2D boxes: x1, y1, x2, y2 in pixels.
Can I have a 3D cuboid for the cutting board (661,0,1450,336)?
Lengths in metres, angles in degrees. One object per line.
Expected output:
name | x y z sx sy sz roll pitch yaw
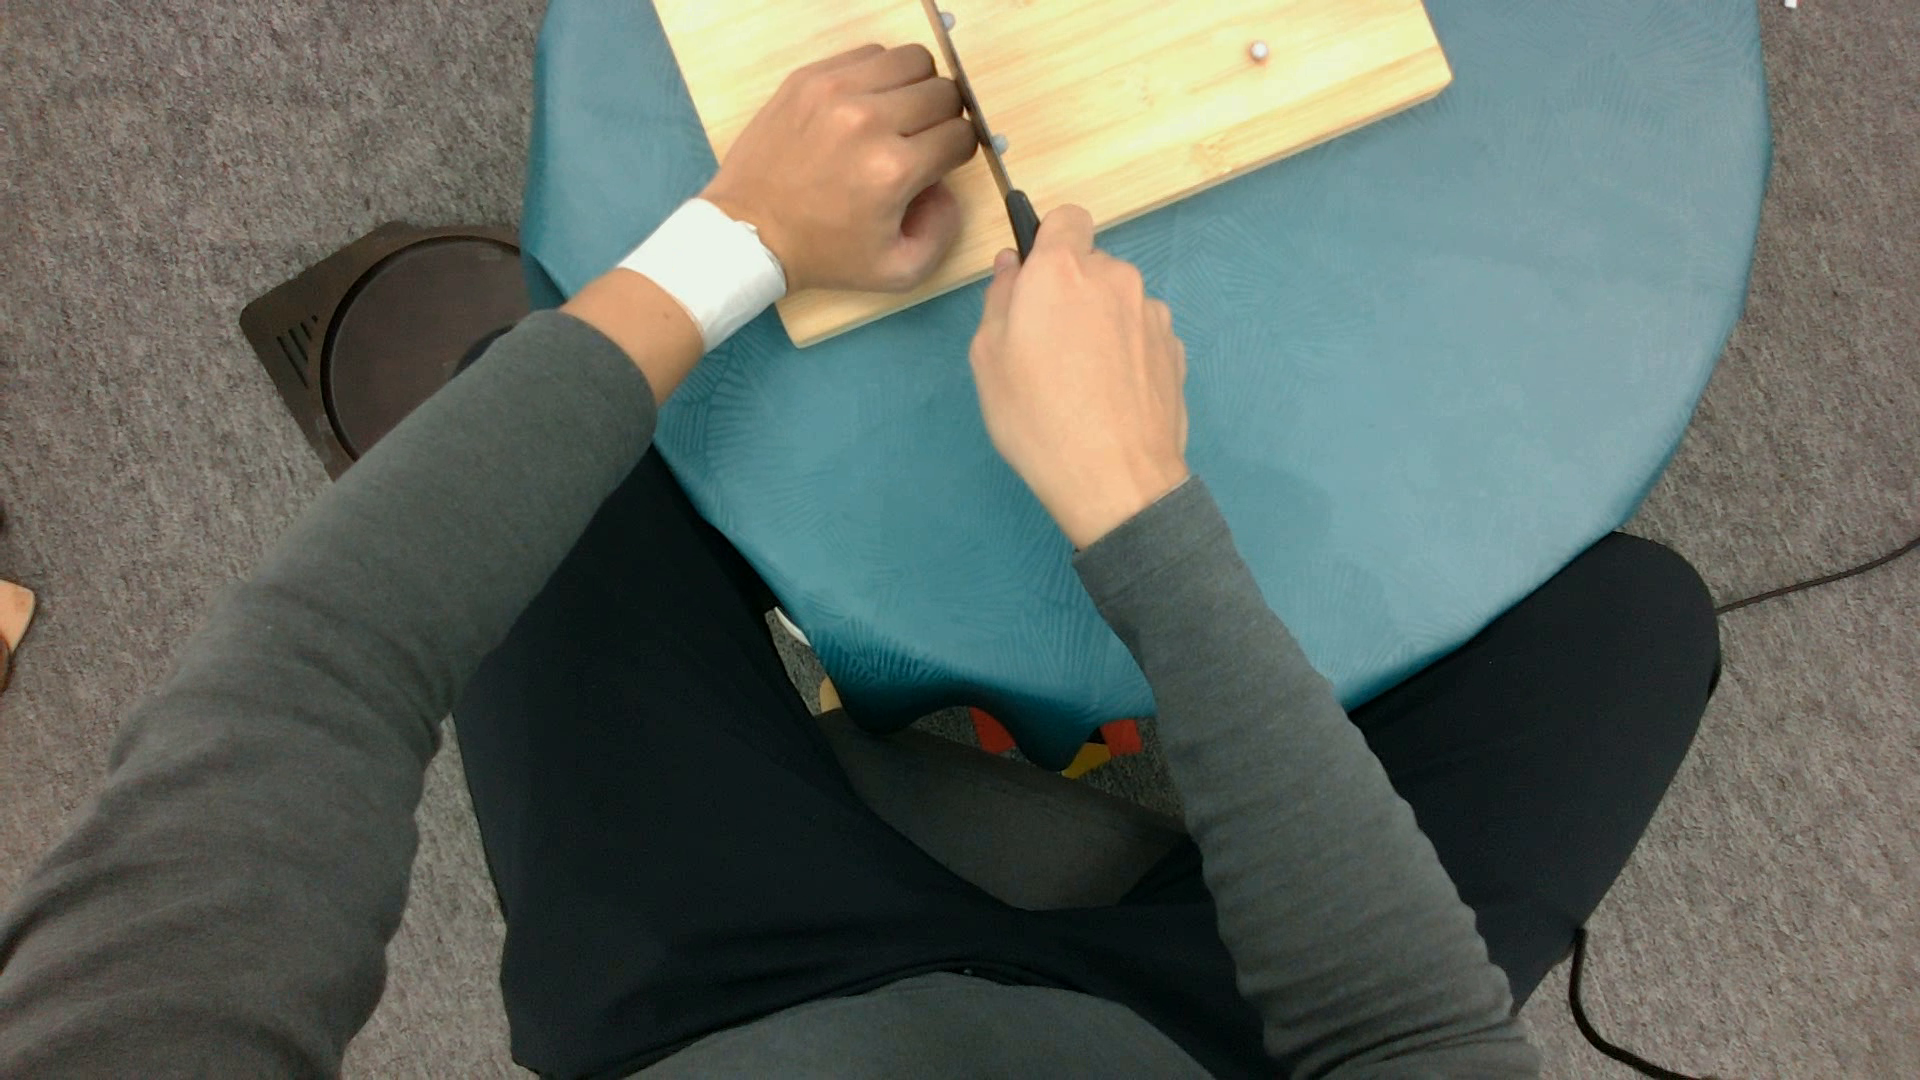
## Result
cutting board | 0.032 -0.271 0.668 0.349 0.023 0.251 -23 88 -3

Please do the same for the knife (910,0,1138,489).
knife | 0.010 -0.163 0.587 0.021 0.081 0.302 -23 84 4
